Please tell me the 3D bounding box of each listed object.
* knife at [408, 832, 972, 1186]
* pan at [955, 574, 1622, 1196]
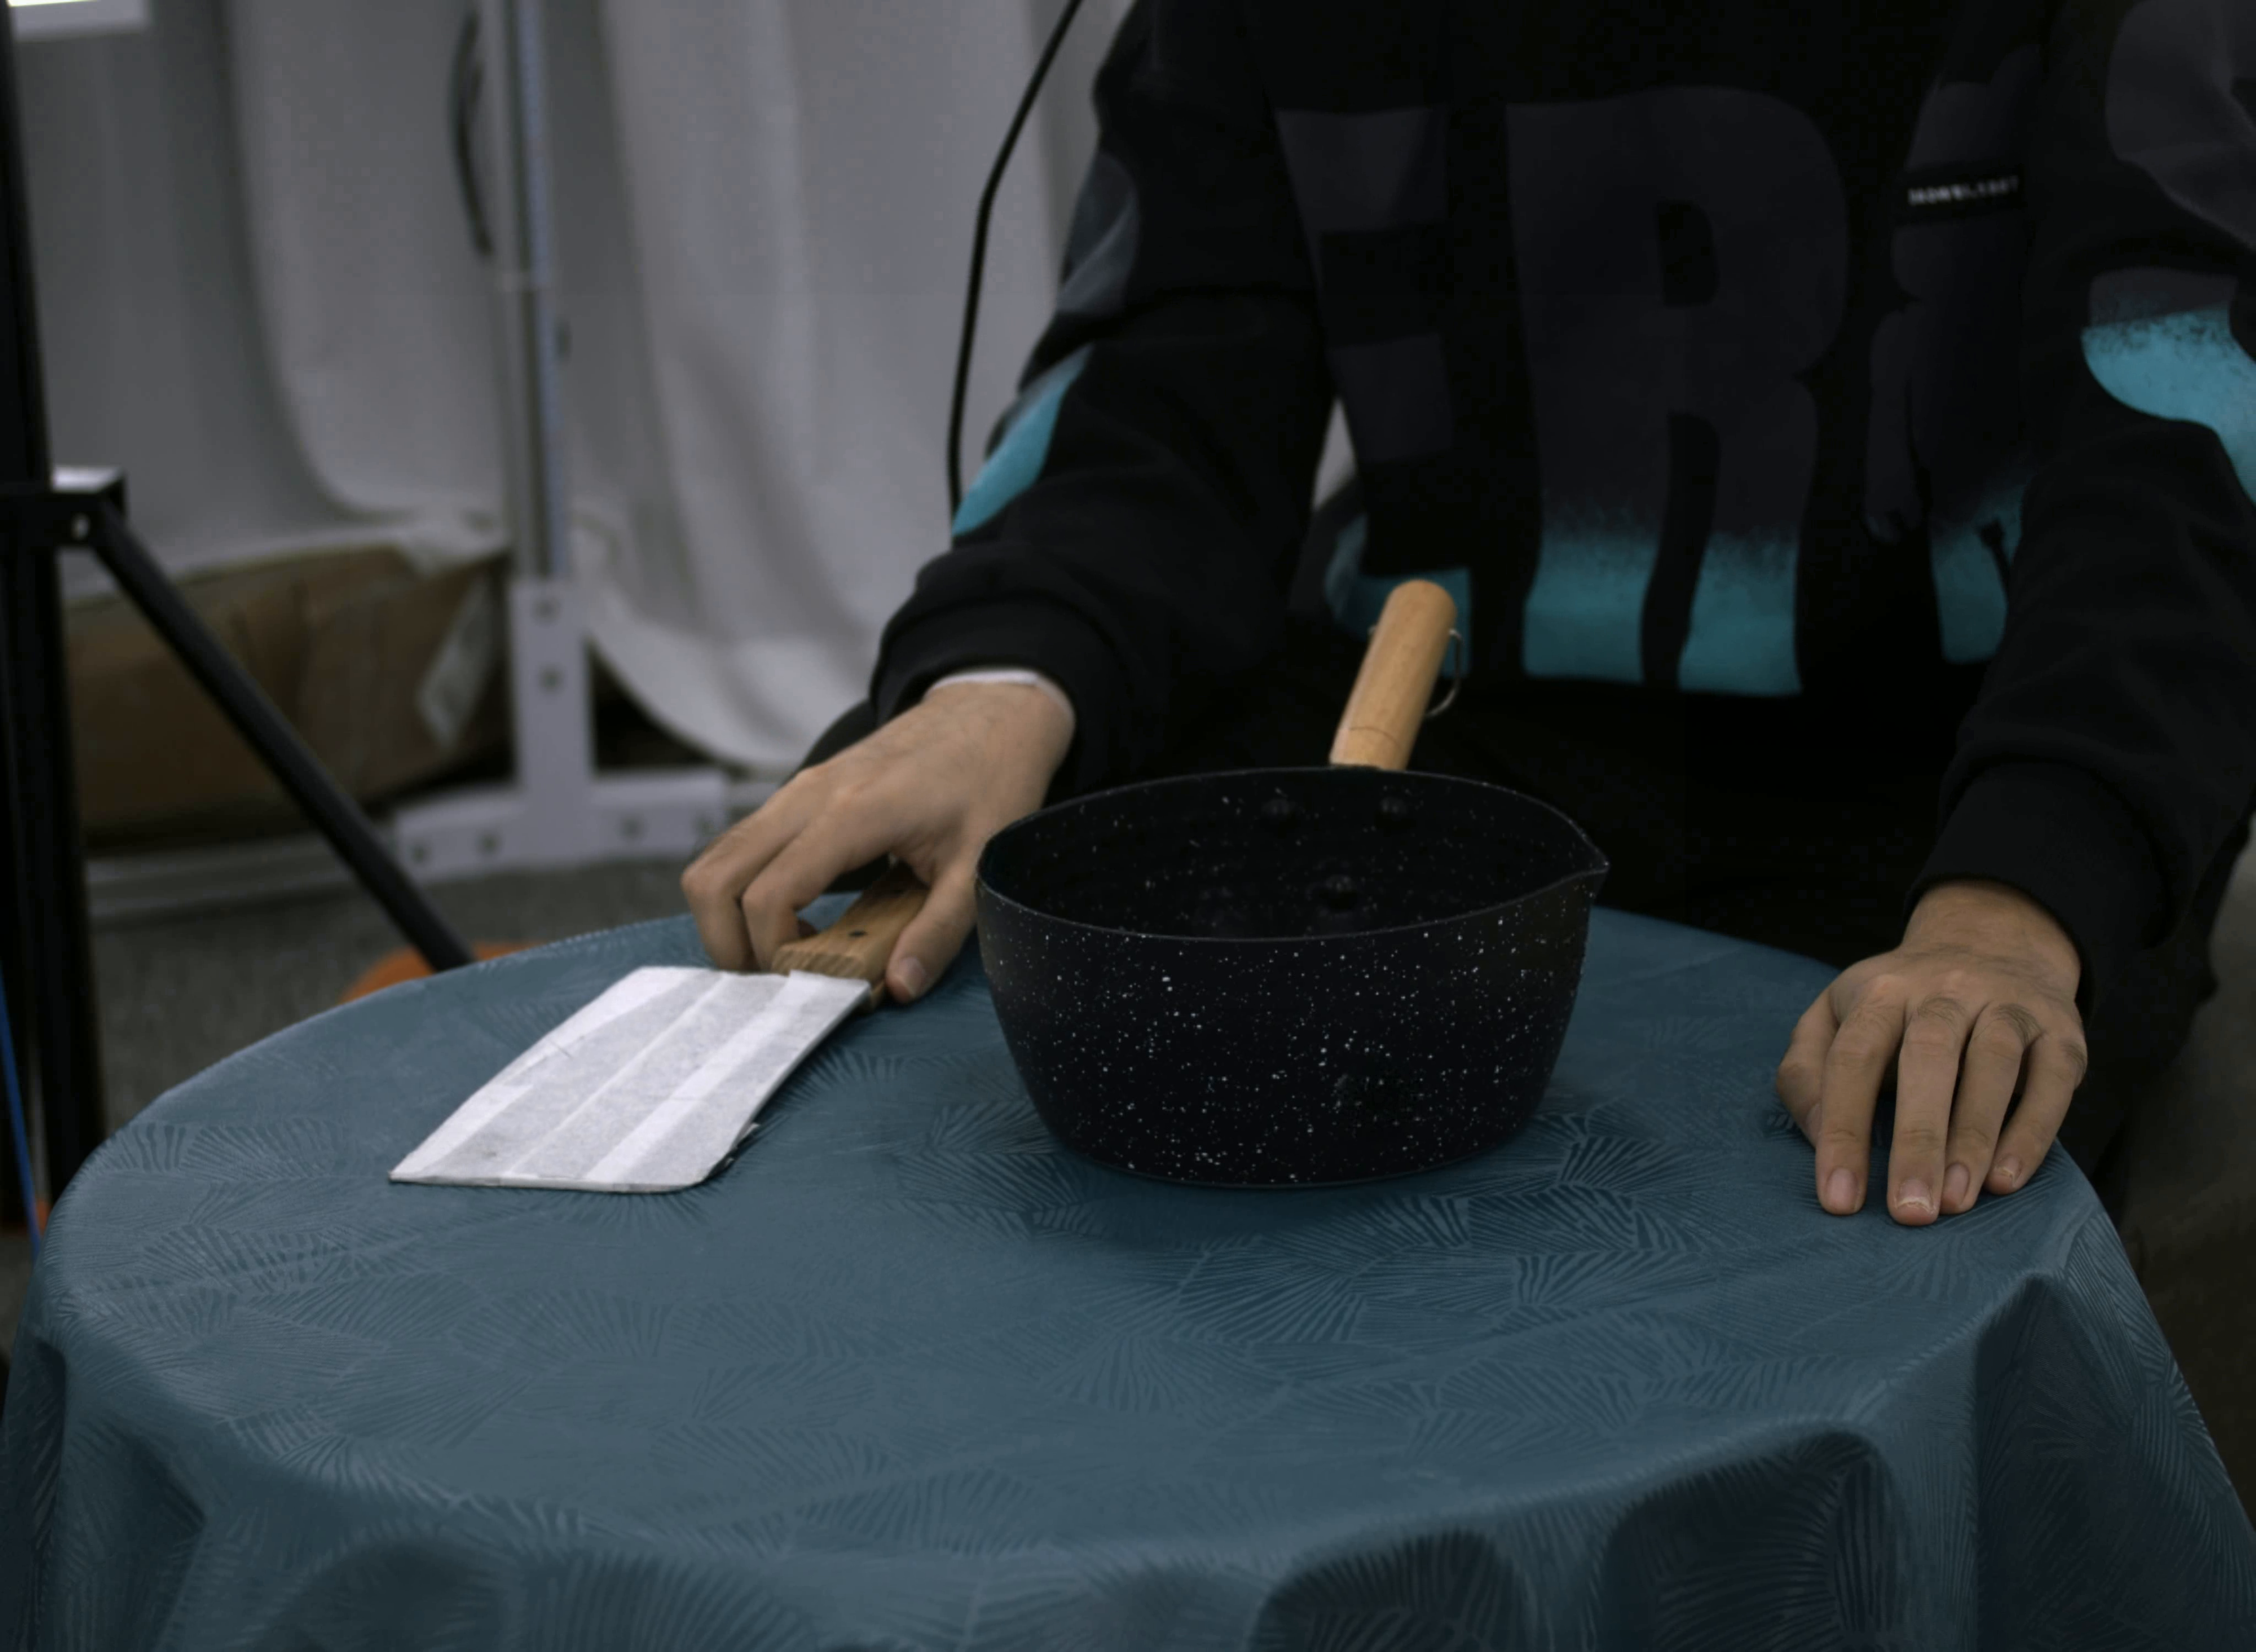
[{"bbox_3d":[-0.122,0.060,1.717,0.115,0.022,0.311,4,20,23],"label":"knife"},{"bbox_3d":[0.062,0.014,1.679,0.208,0.108,0.341,0,17,12],"label":"pan"}]
